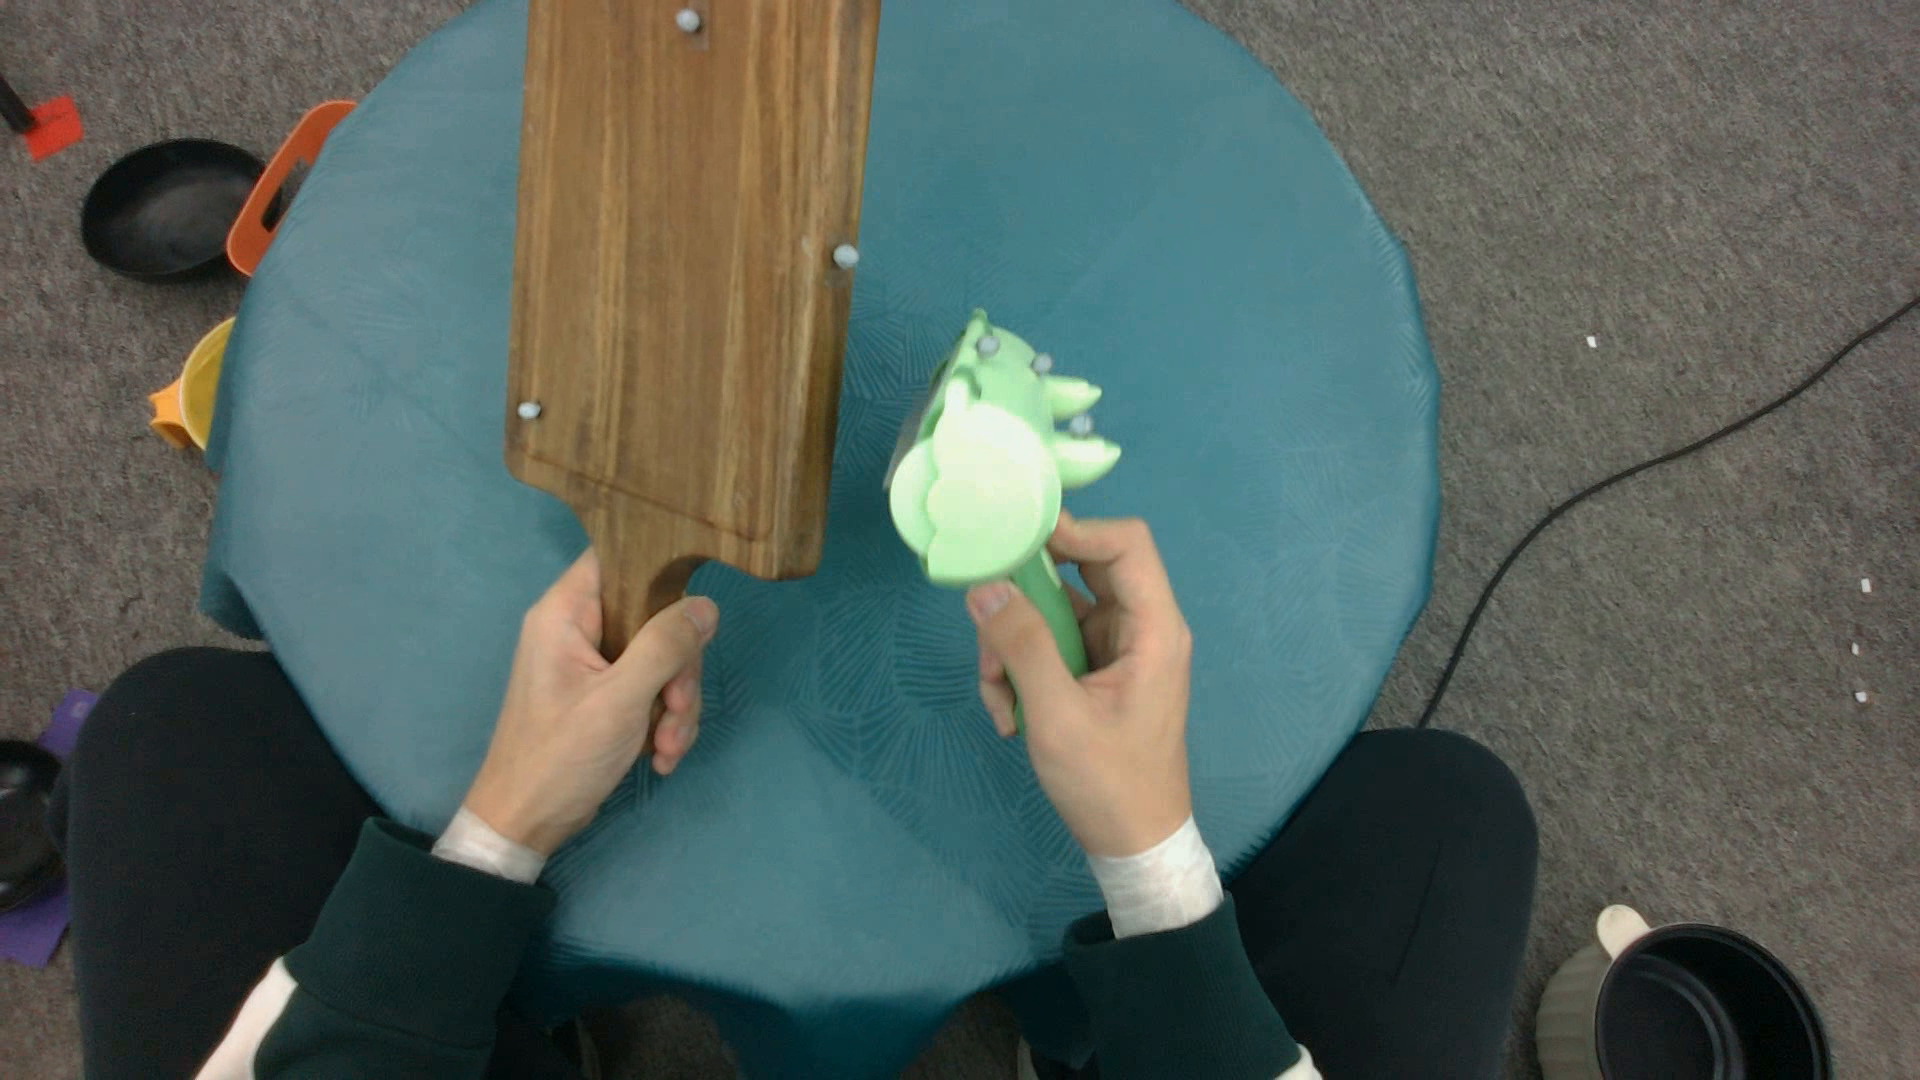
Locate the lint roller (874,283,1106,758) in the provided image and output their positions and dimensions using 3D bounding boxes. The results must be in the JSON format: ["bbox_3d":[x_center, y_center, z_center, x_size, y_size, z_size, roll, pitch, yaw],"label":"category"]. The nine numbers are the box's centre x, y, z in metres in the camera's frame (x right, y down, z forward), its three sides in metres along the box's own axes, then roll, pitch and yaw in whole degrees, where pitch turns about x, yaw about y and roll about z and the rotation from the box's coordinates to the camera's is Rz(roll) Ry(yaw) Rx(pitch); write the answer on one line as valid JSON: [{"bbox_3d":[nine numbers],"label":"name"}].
[{"bbox_3d":[0.032,-0.006,0.528,0.082,0.199,0.183,-25,104,7],"label":"lint roller"}]

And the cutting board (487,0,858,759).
[{"bbox_3d":[-0.126,-0.082,0.547,0.201,0.023,0.351,15,105,39],"label":"cutting board"}]
